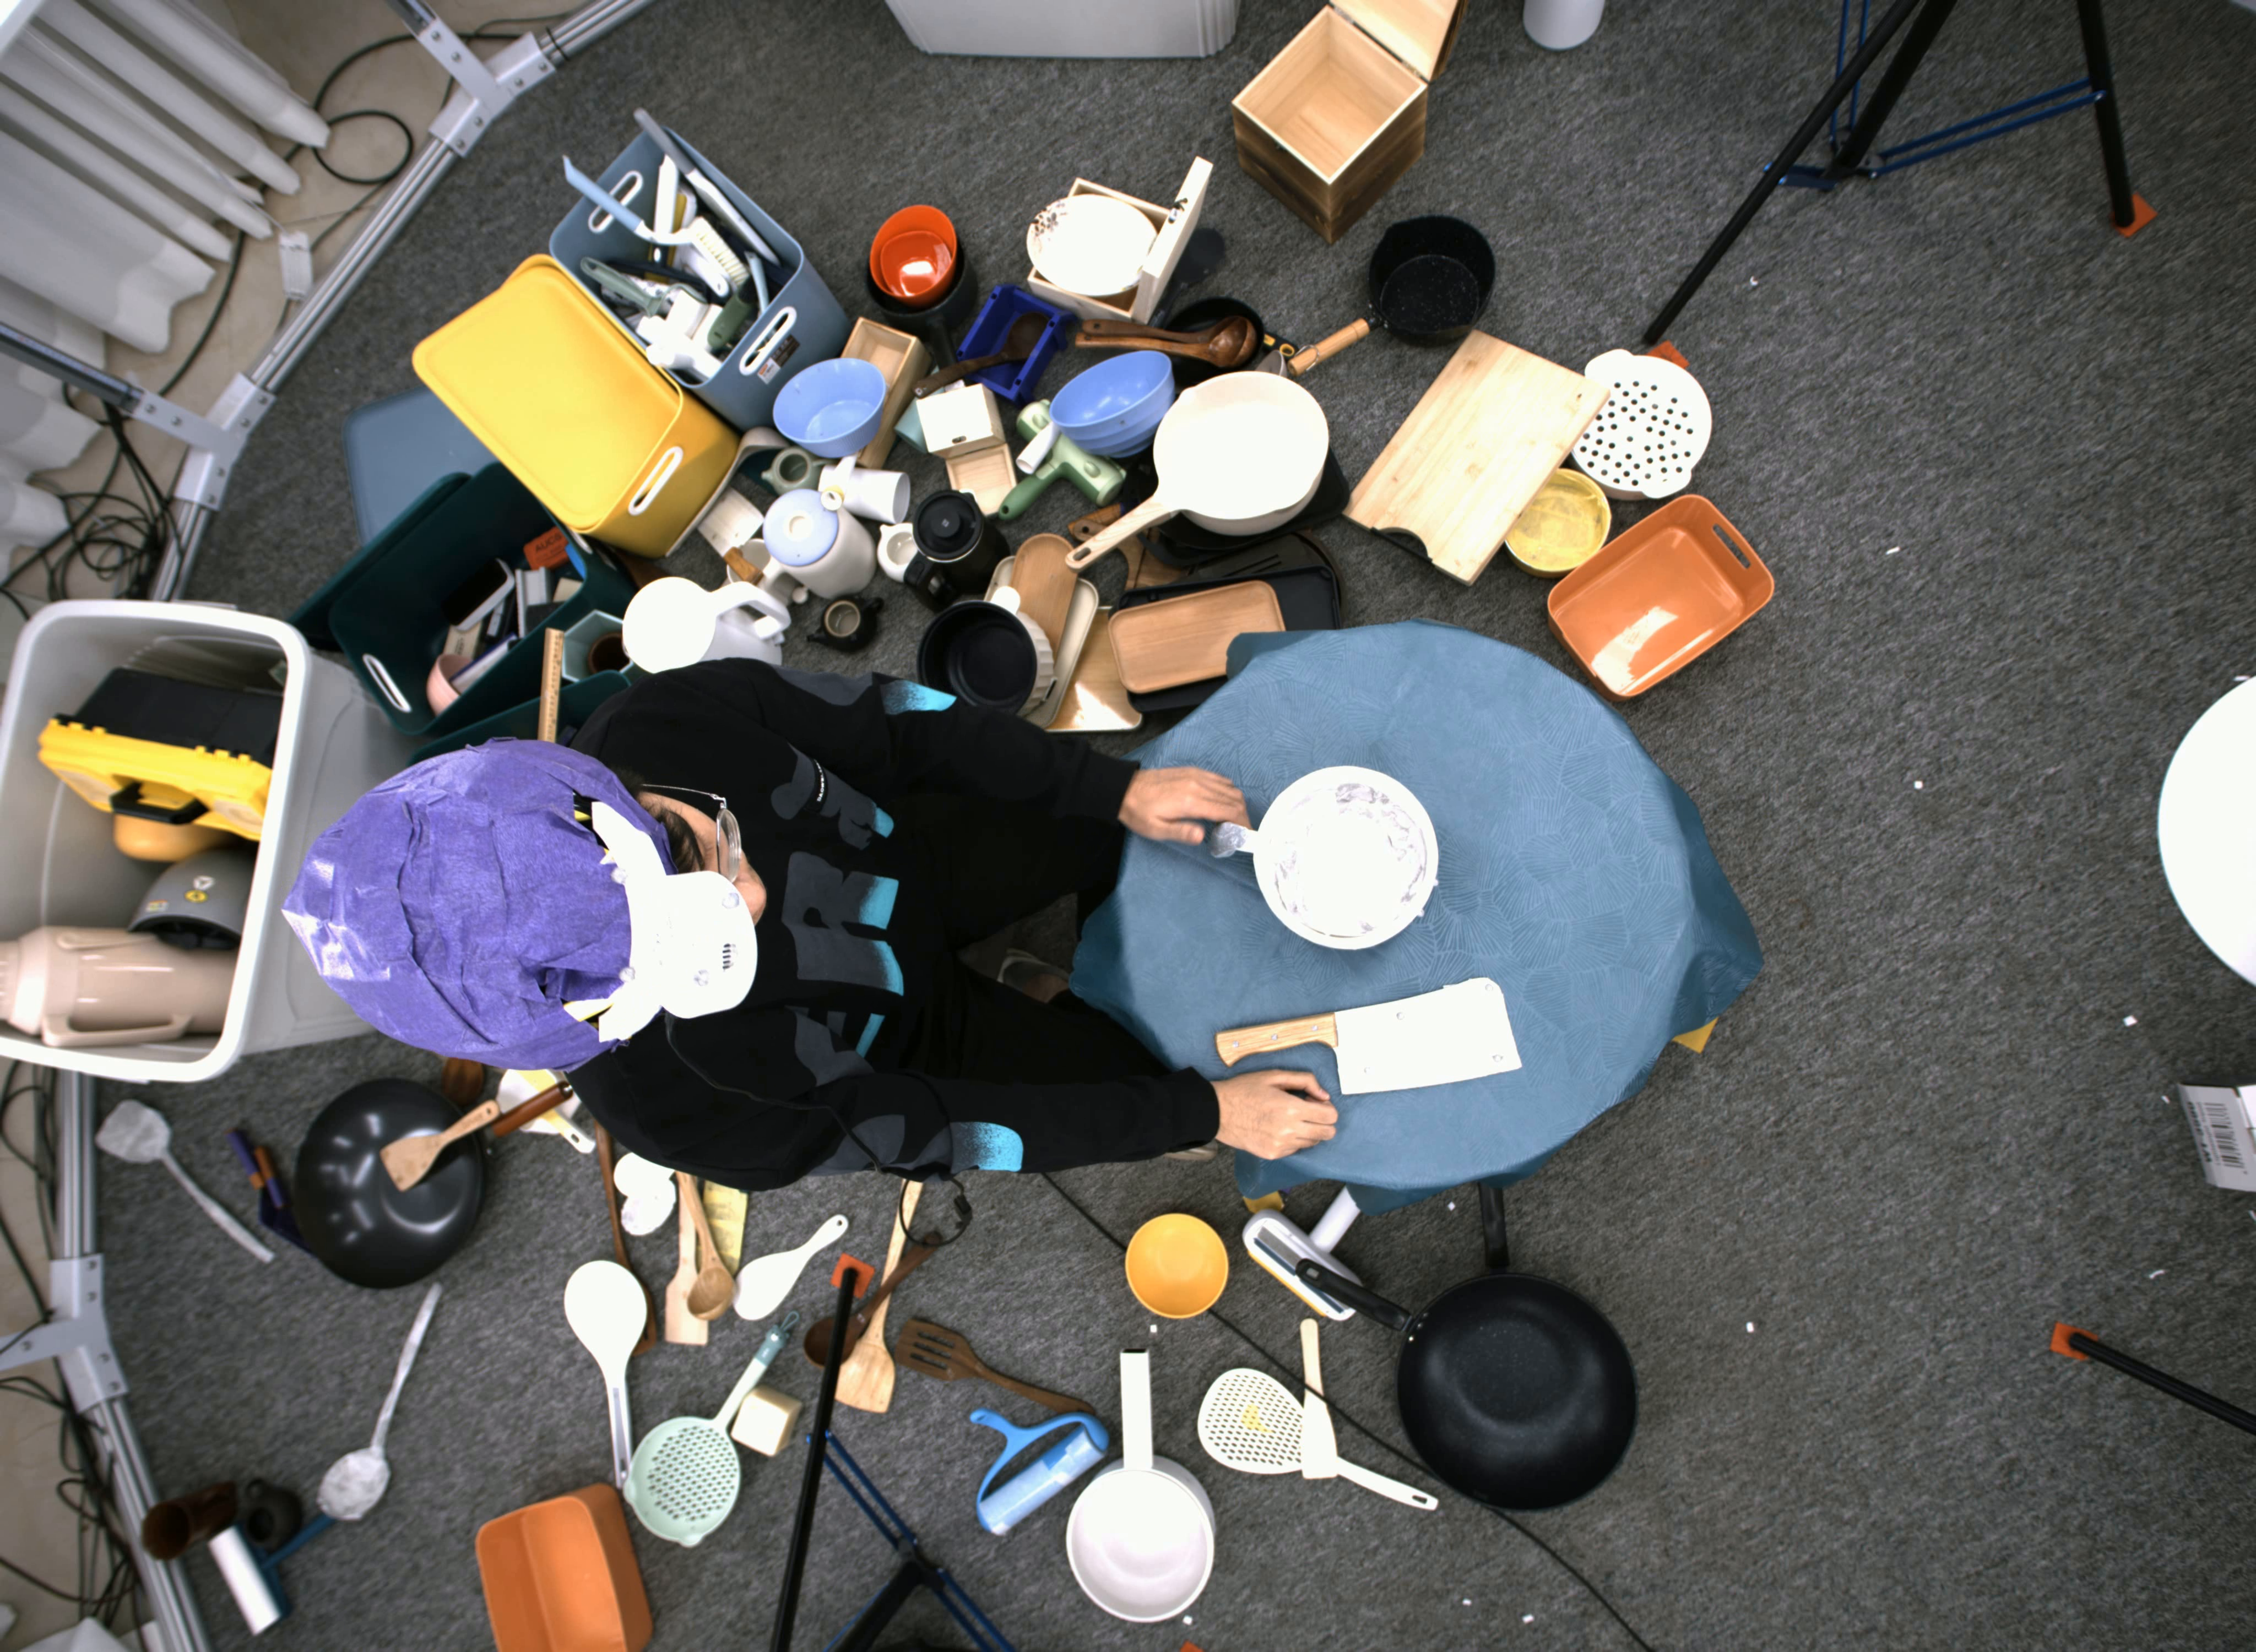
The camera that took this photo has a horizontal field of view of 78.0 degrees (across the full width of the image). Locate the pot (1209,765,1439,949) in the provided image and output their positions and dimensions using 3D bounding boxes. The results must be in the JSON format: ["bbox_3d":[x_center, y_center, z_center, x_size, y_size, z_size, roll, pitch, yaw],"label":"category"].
[{"bbox_3d":[0.195,0.030,1.407,0.234,0.137,0.178,10,87,10],"label":"pot"}]

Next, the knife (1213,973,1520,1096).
[{"bbox_3d":[0.246,0.222,1.447,0.316,0.022,0.113,-7,86,7],"label":"knife"}]
